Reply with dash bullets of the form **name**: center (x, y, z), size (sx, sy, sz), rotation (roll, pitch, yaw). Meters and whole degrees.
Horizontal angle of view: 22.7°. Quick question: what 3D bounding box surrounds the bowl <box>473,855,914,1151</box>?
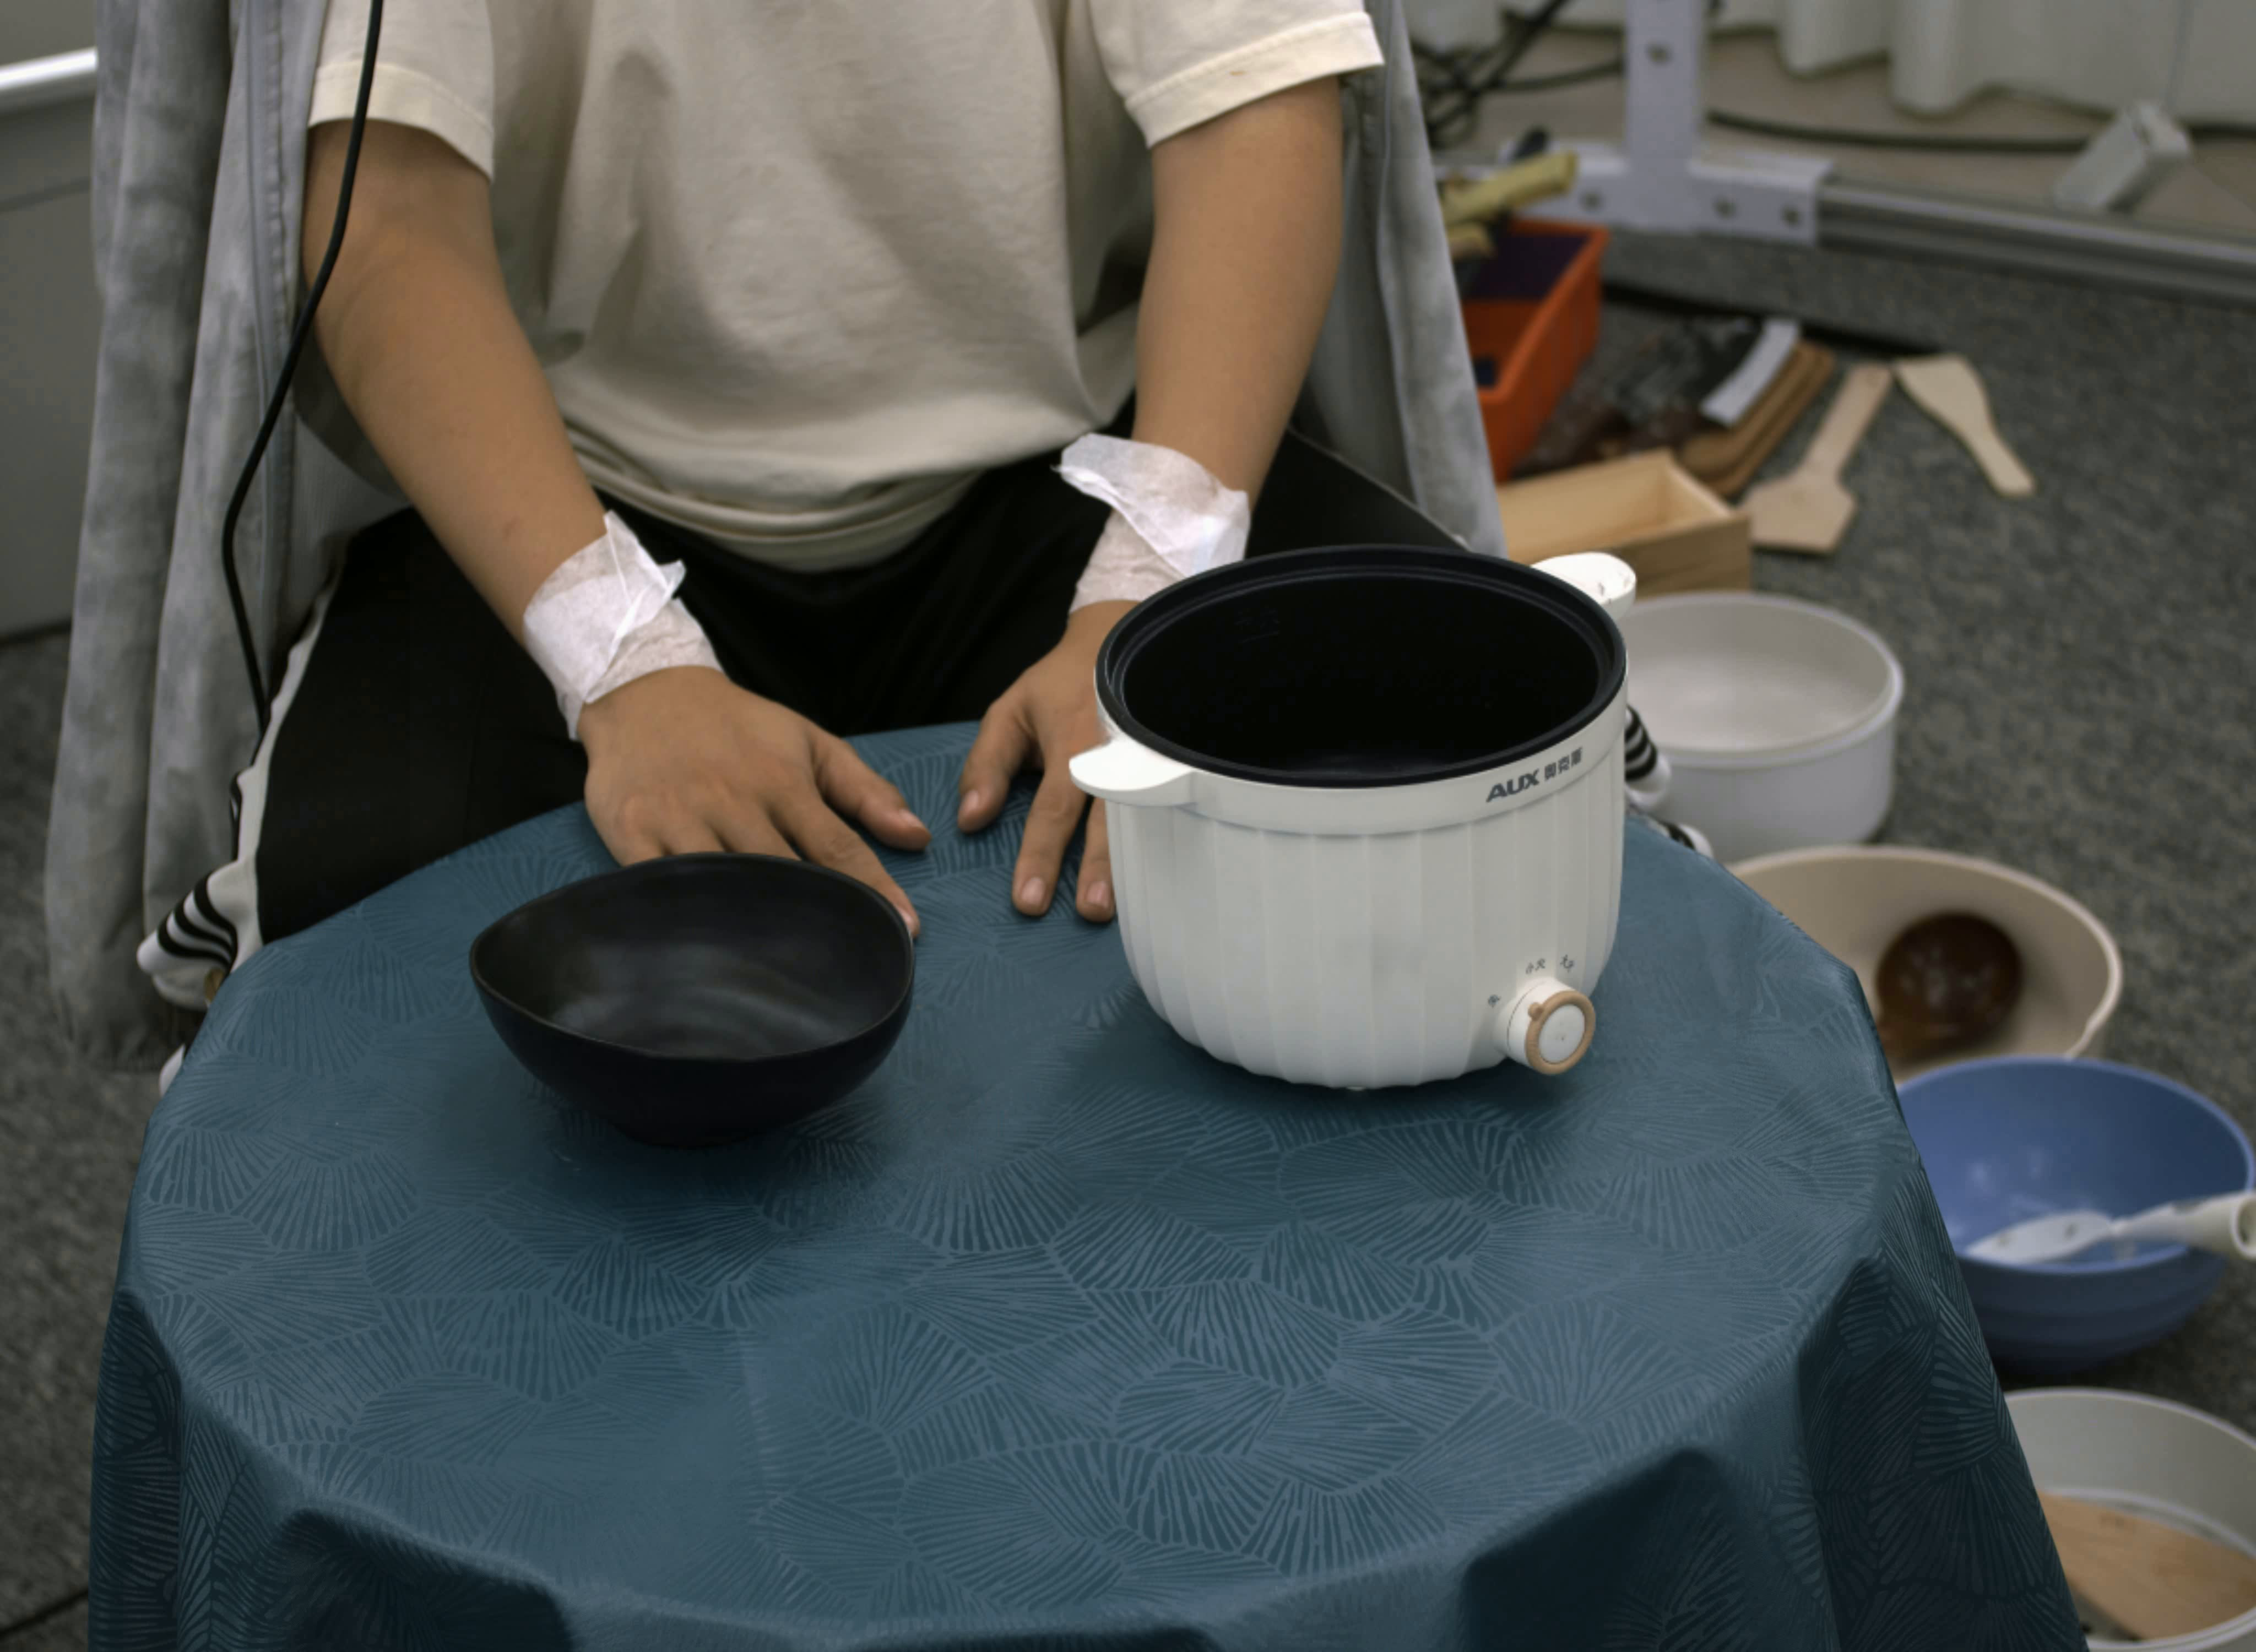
- **bowl**: center (-0.148, 0.068, 1.910), size (0.170, 0.066, 0.139), rotation (19, 33, 37)

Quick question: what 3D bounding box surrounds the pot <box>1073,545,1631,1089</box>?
- **pot**: center (0.087, 0.002, 1.935), size (0.243, 0.141, 0.190), rotation (-23, 29, -33)
